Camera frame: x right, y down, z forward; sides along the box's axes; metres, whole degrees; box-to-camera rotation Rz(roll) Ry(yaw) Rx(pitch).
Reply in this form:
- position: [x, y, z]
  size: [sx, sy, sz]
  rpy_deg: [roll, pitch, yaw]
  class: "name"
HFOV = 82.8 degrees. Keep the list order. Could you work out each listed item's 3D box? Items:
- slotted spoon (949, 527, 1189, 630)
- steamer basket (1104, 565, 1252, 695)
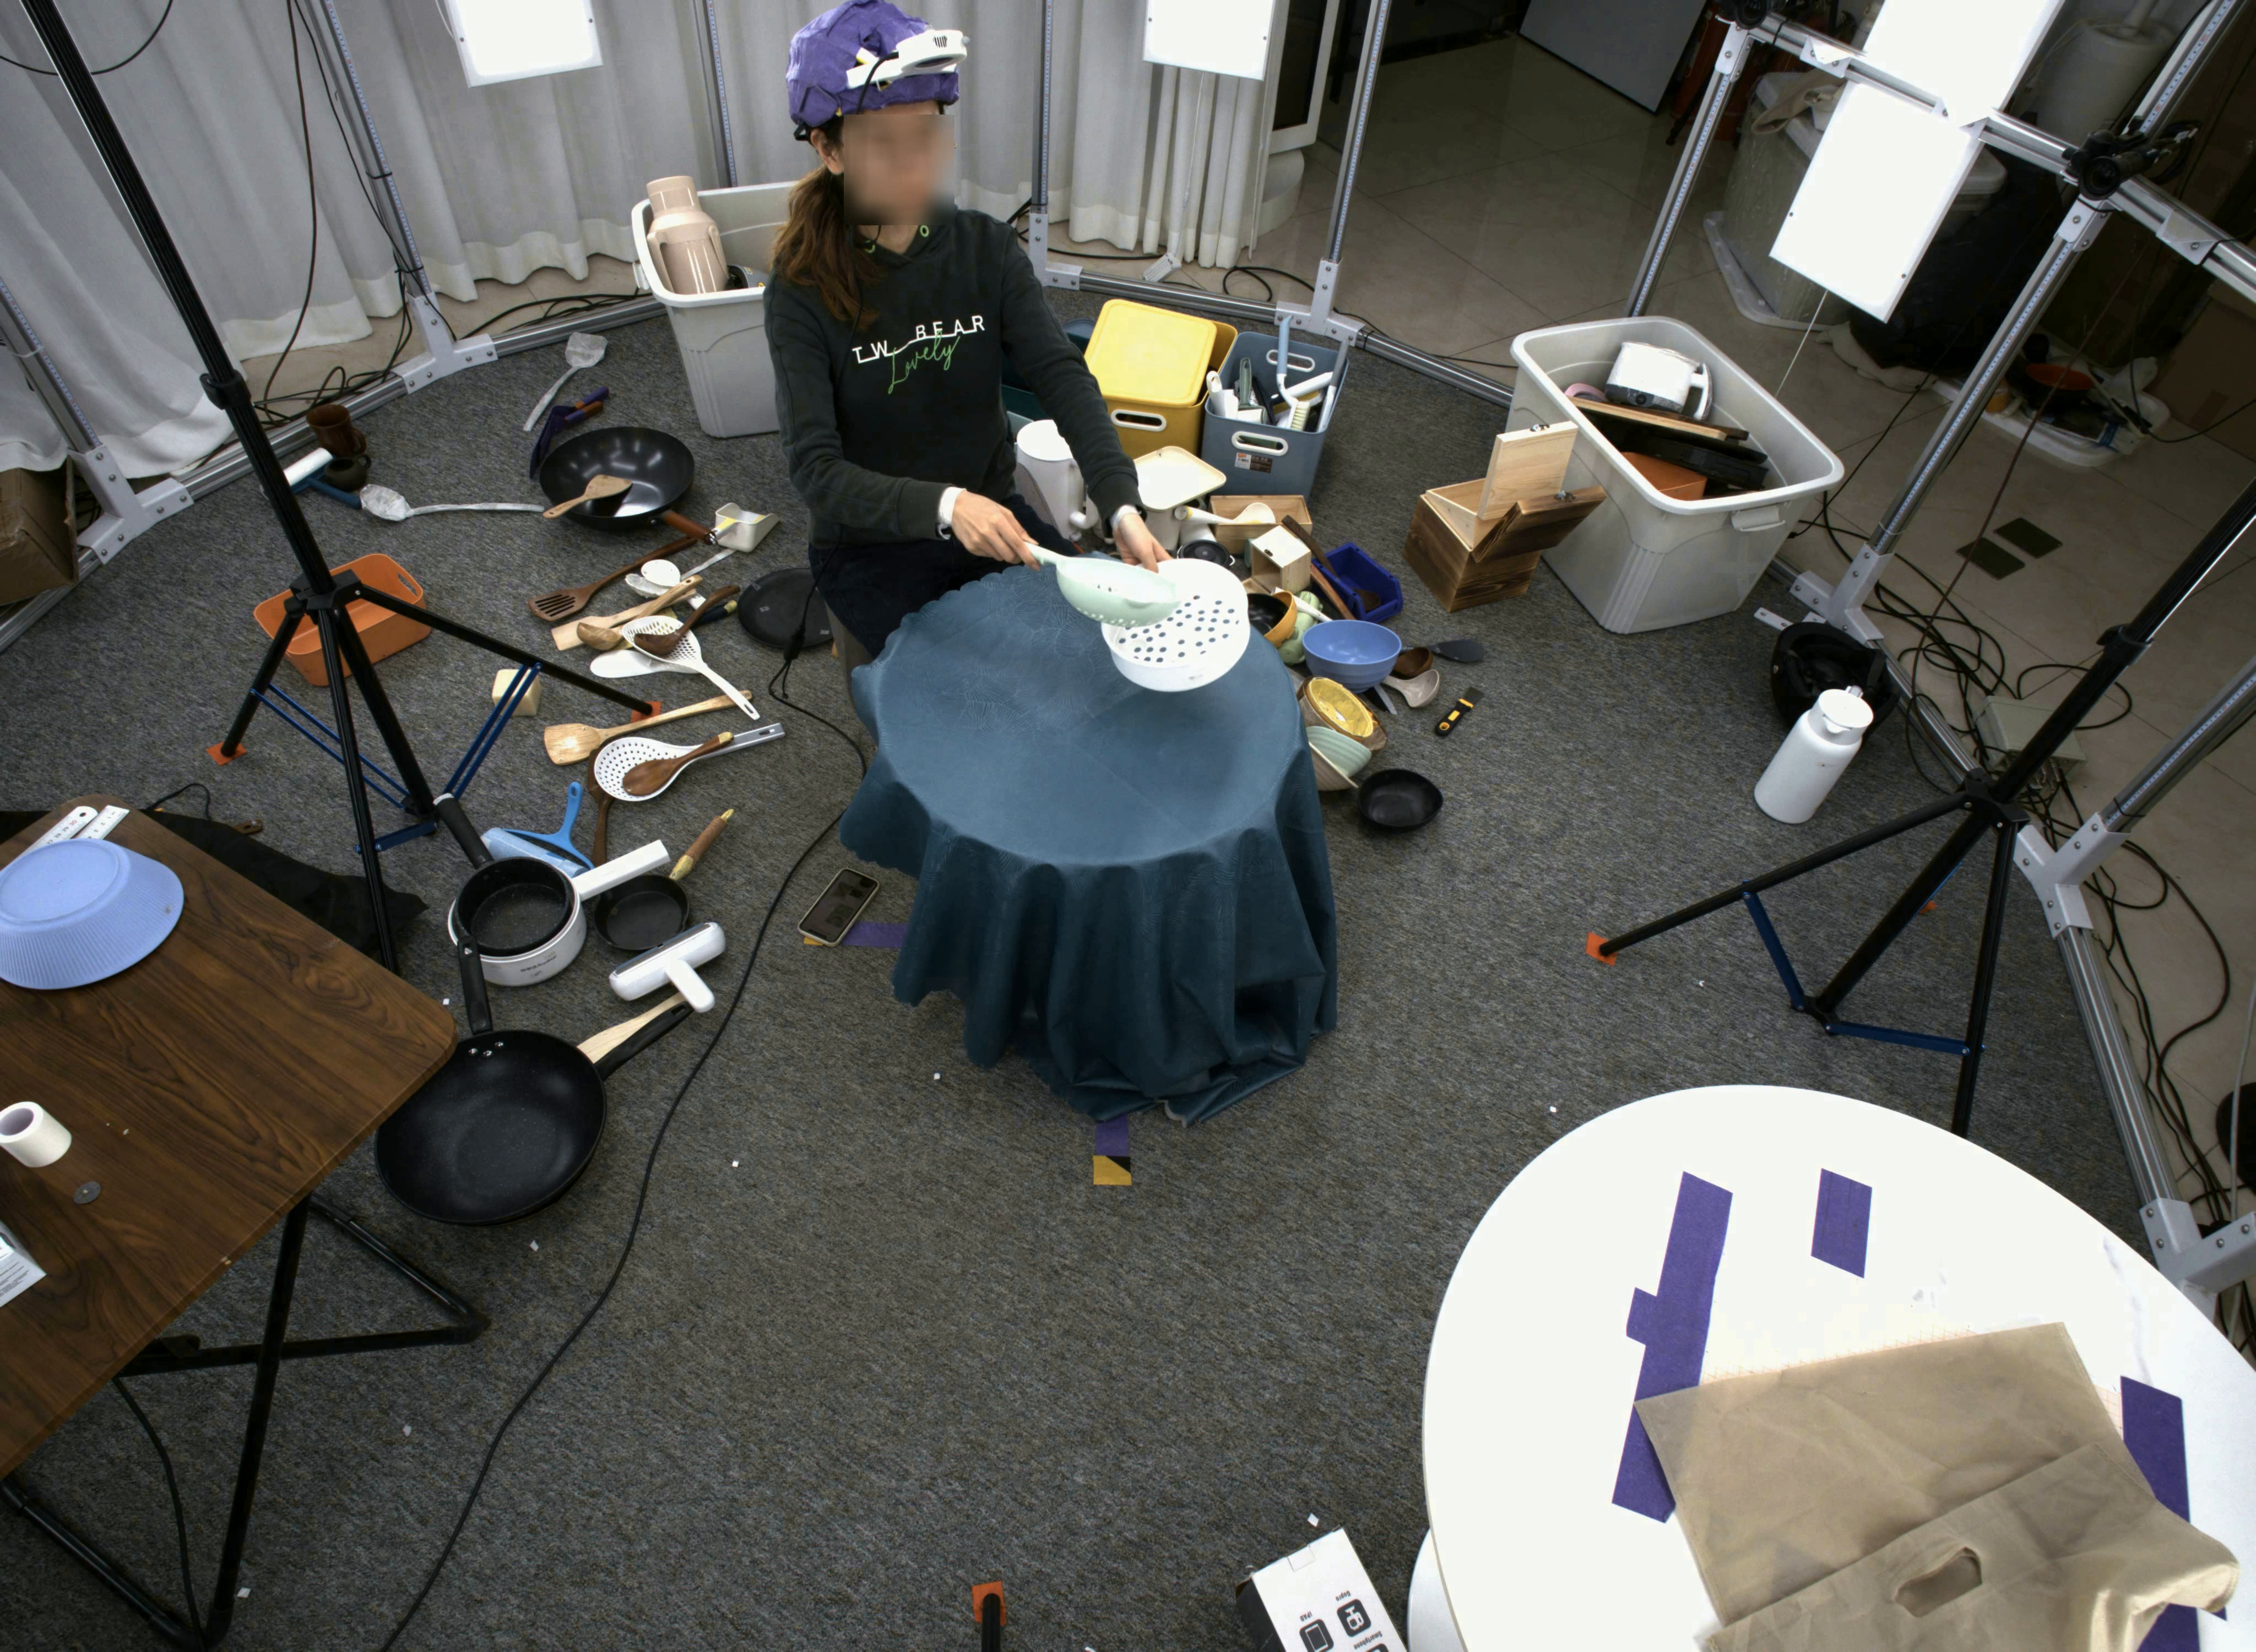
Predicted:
- position: [-0.093, -0.344, 1.715]
  size: [0.363, 0.074, 0.170]
  rpy_deg: [32, 27, 22]
  class: "slotted spoon"
- position: [0.071, -0.267, 1.759]
  size: [0.202, 0.067, 0.235]
  rpy_deg: [-31, 51, -12]
  class: "steamer basket"
